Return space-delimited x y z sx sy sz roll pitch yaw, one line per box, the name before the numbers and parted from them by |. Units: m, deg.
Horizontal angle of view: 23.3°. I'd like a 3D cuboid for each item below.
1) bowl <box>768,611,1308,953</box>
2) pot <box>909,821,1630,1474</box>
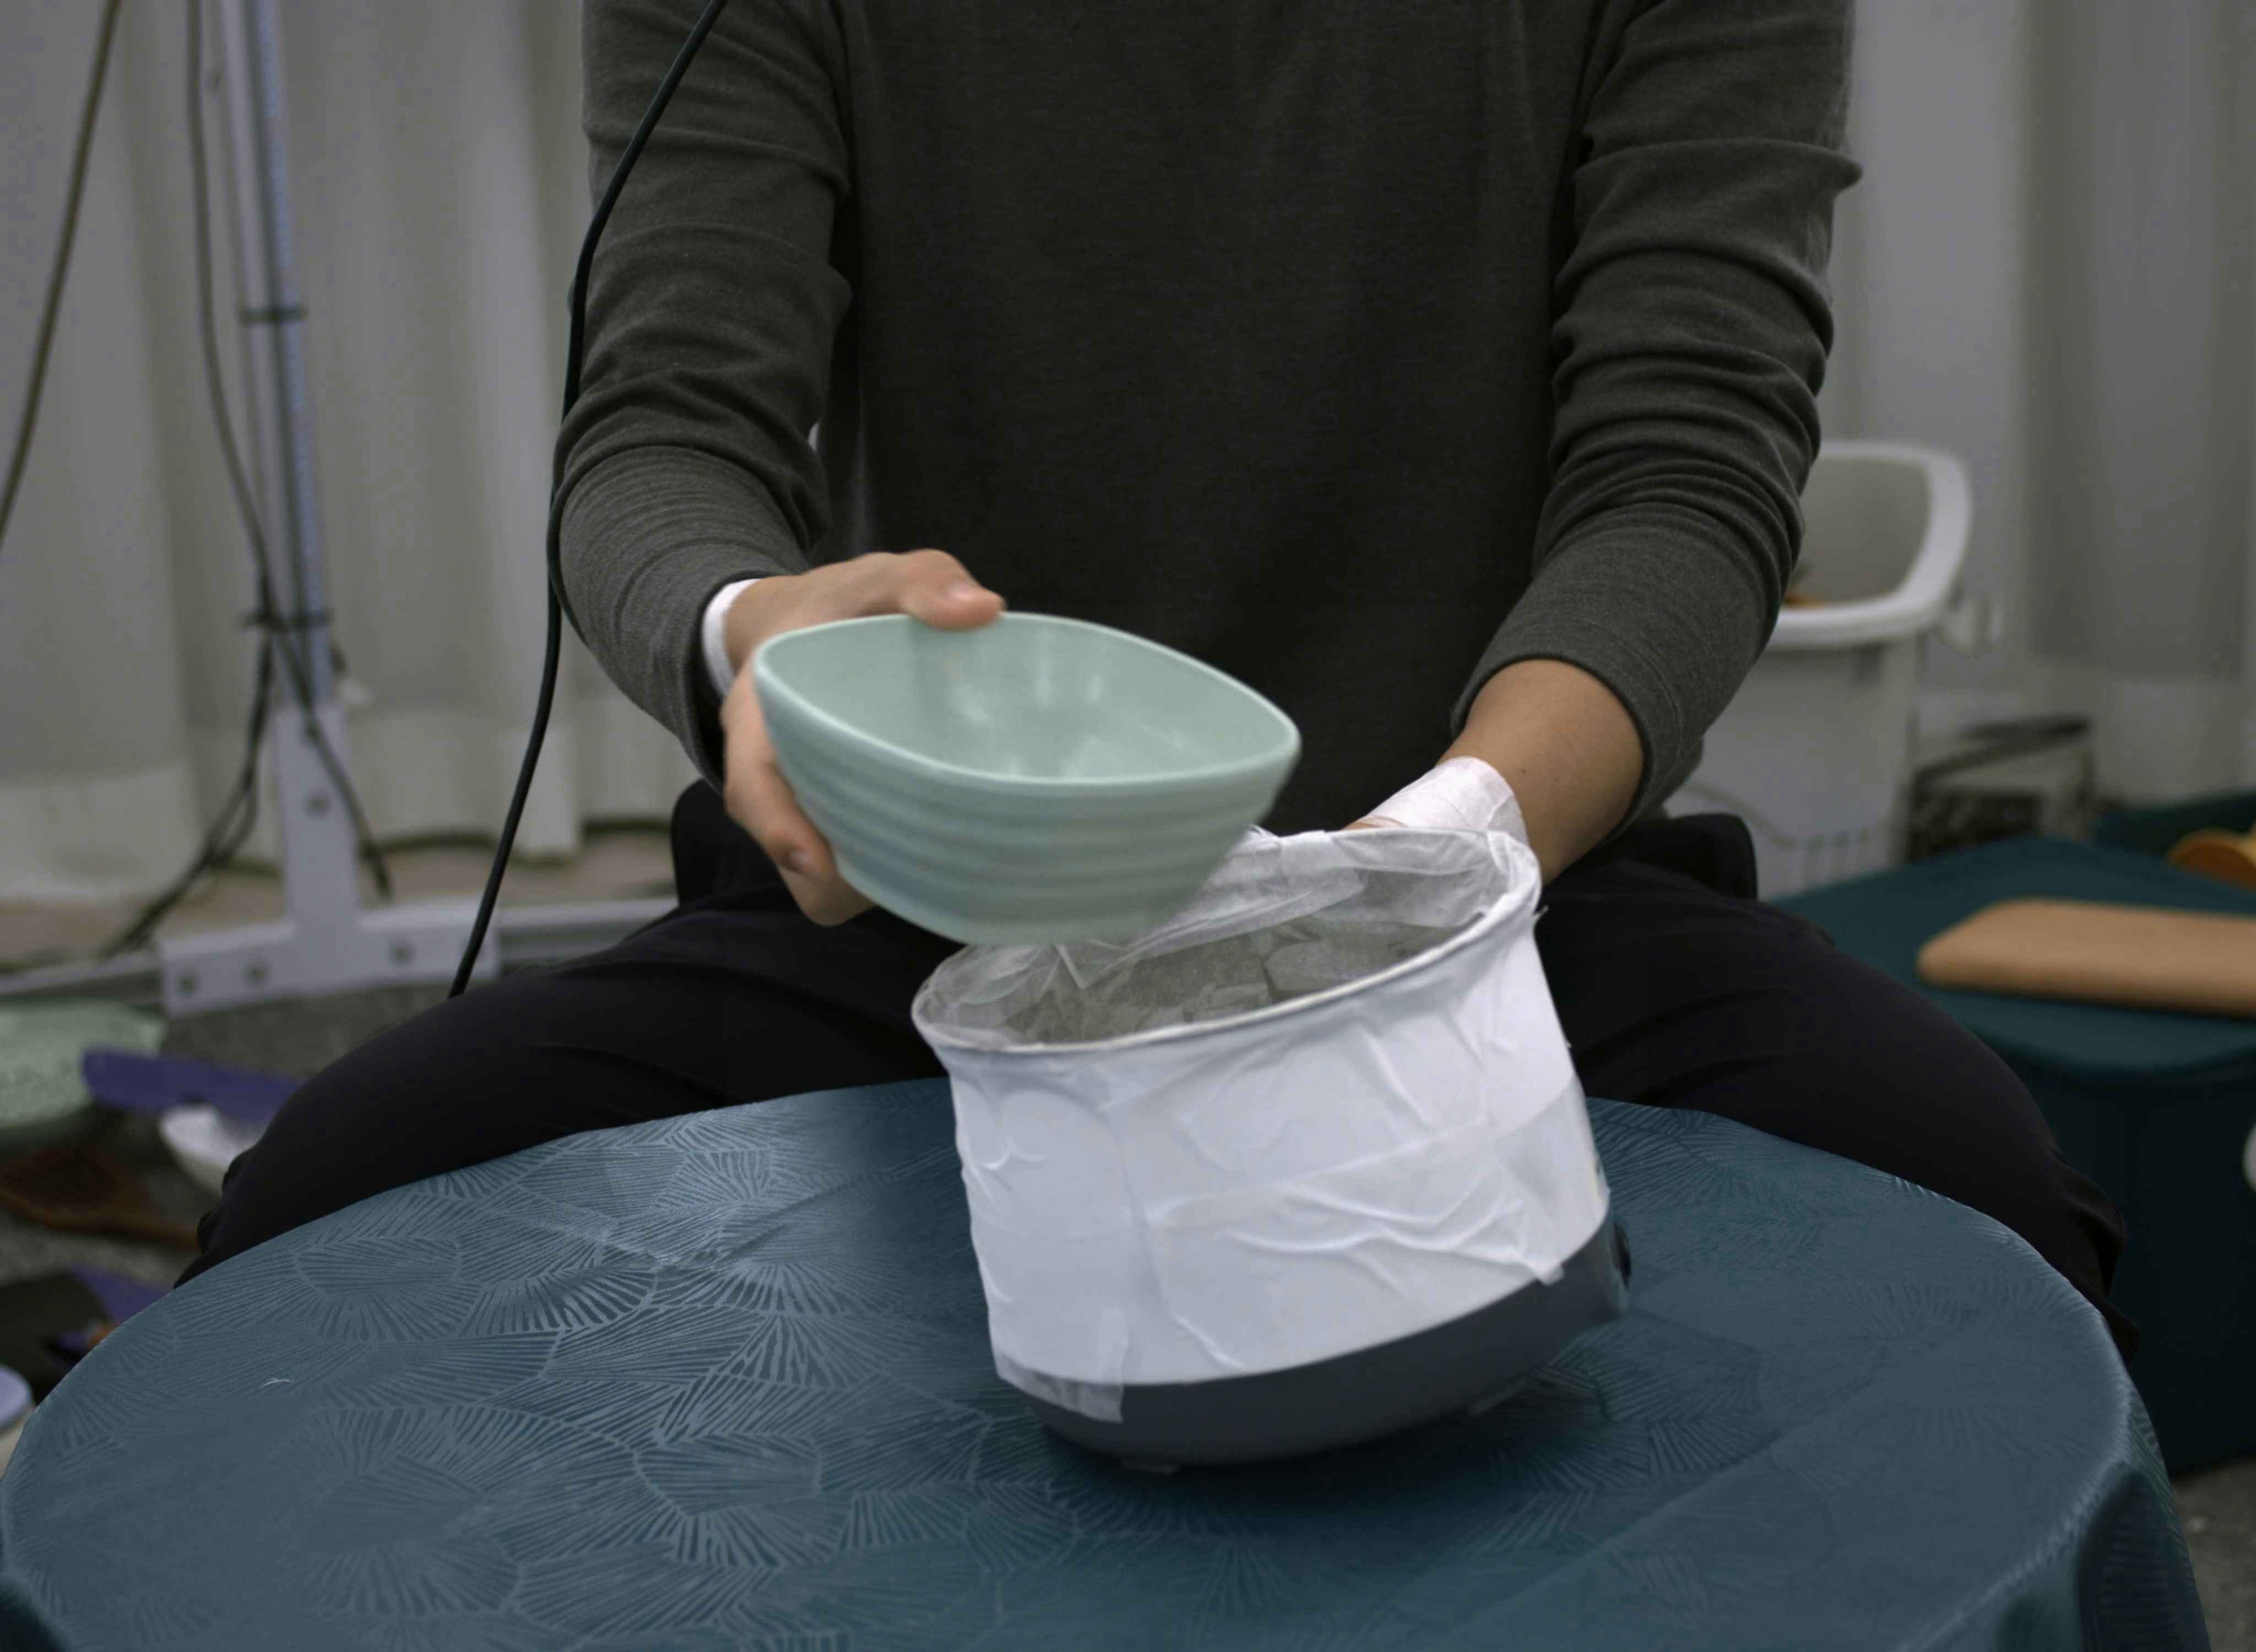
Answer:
bowl | -0.029 -0.008 1.499 0.151 0.058 0.153 10 19 -4
pot | 0.042 0.081 1.536 0.178 0.136 0.235 -12 14 6
